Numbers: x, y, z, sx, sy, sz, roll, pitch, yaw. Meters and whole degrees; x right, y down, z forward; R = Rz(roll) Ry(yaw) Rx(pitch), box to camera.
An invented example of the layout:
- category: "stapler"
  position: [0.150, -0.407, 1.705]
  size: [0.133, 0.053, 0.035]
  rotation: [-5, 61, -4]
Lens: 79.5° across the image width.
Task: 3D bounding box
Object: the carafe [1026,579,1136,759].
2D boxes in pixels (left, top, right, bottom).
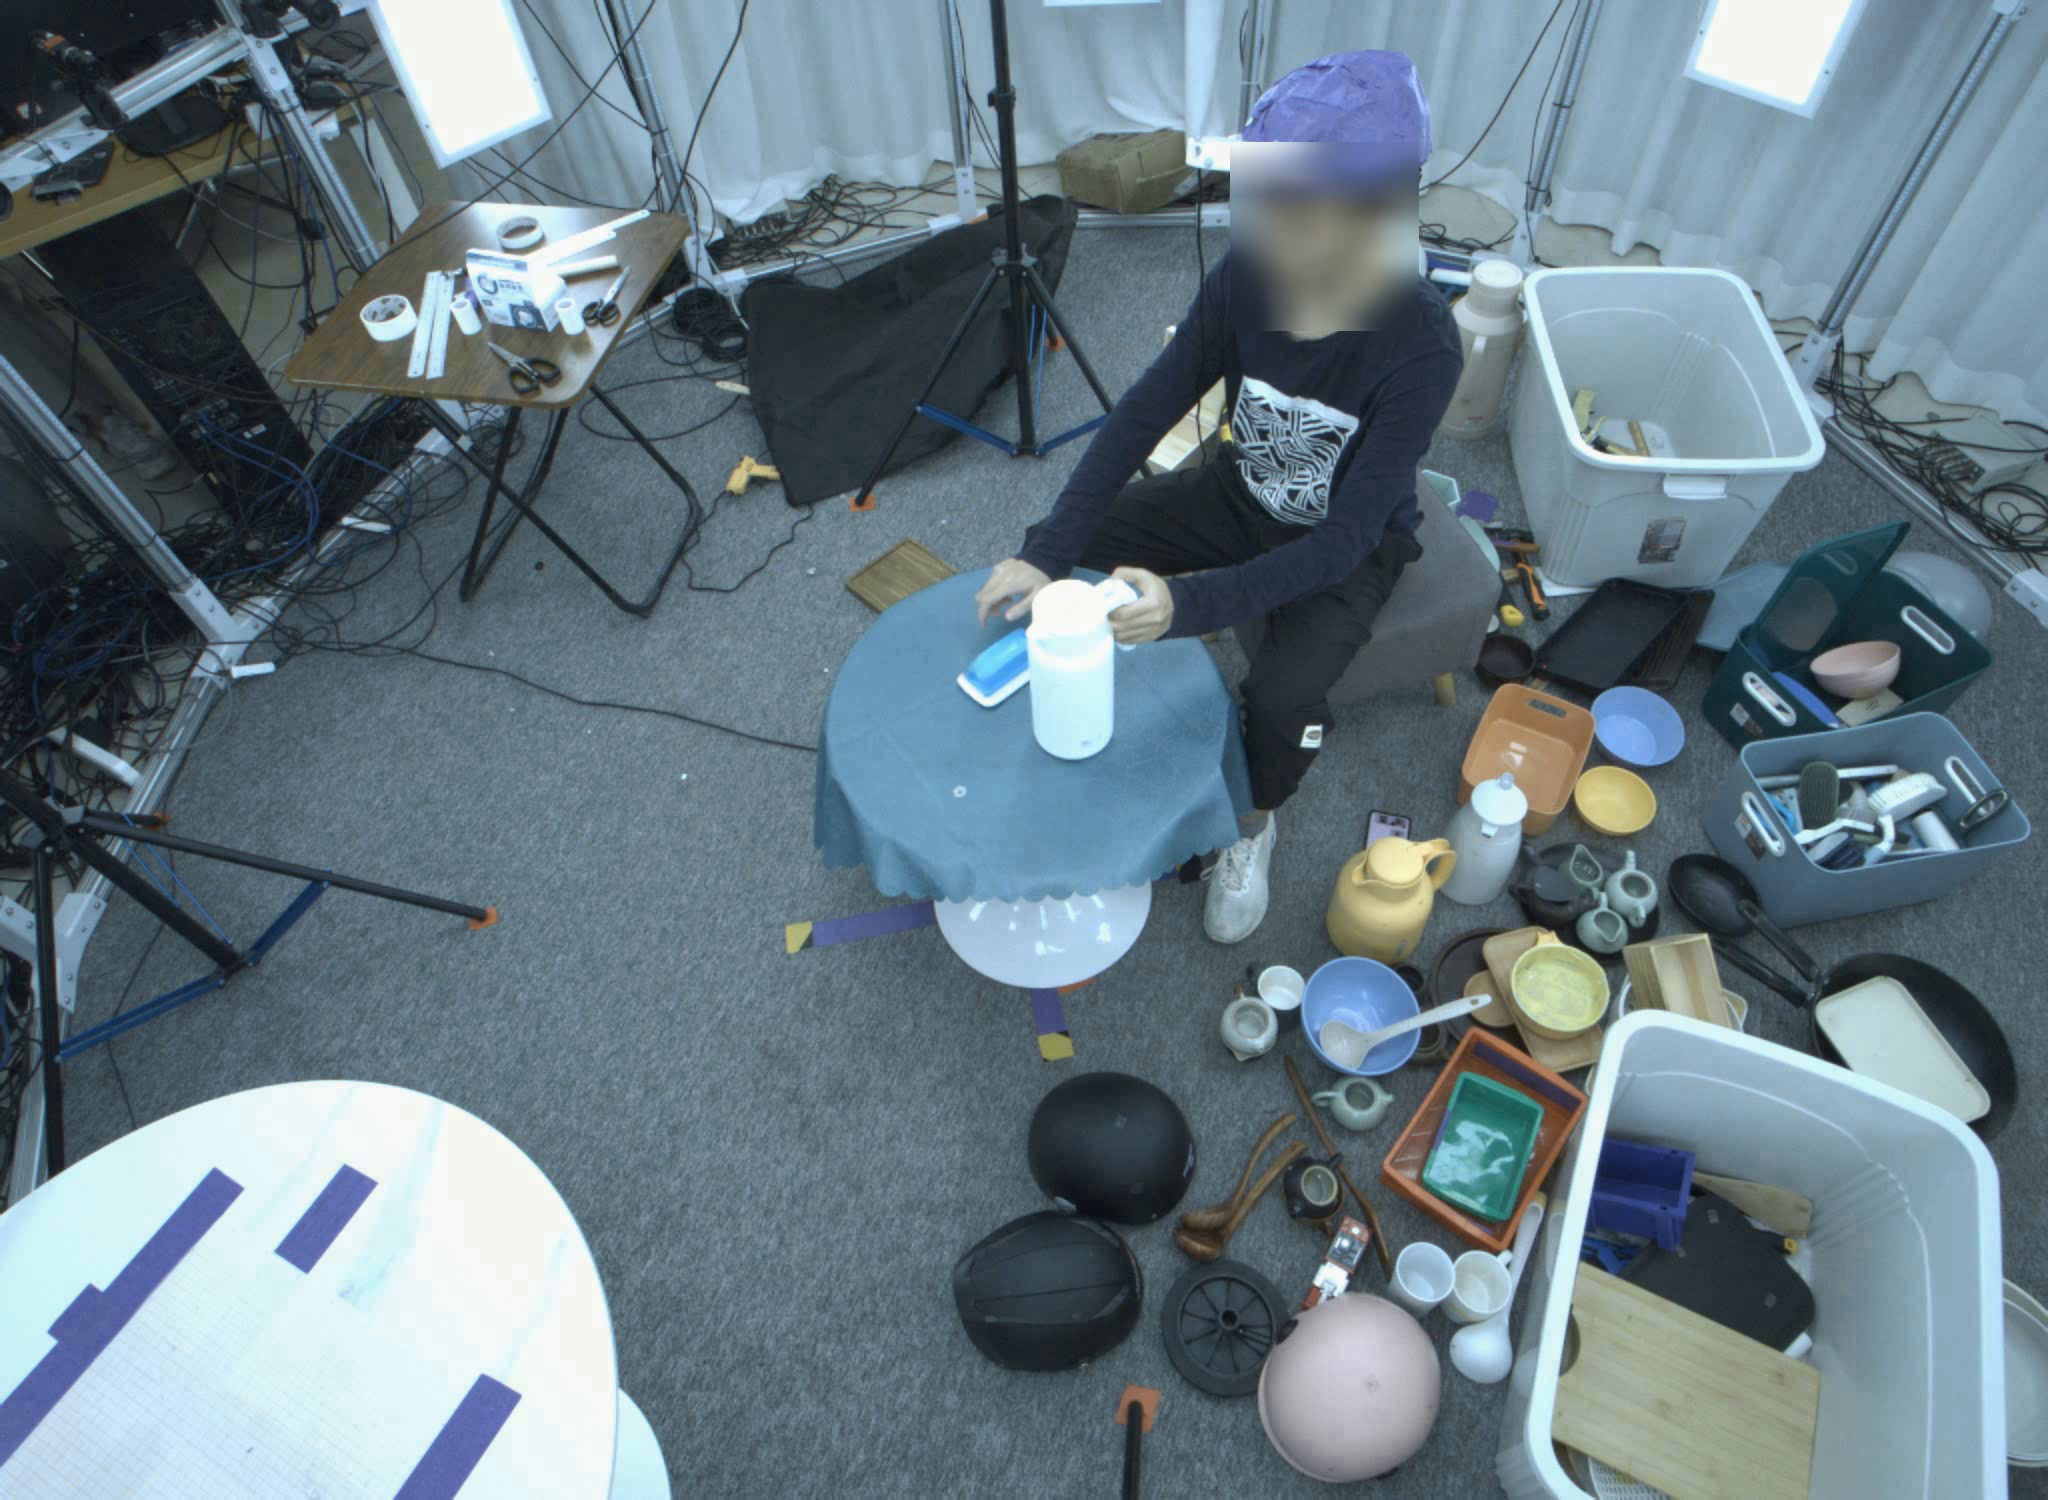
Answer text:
- category: "carafe"
  position: [0.078, -0.117, 1.696]
  size: [0.174, 0.272, 0.121]
  rotation: [-33, 57, -20]

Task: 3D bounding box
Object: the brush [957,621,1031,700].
- category: "brush"
  position: [-0.028, -0.142, 1.843]
  size: [0.145, 0.056, 0.082]
  rotation: [-38, 64, -18]
